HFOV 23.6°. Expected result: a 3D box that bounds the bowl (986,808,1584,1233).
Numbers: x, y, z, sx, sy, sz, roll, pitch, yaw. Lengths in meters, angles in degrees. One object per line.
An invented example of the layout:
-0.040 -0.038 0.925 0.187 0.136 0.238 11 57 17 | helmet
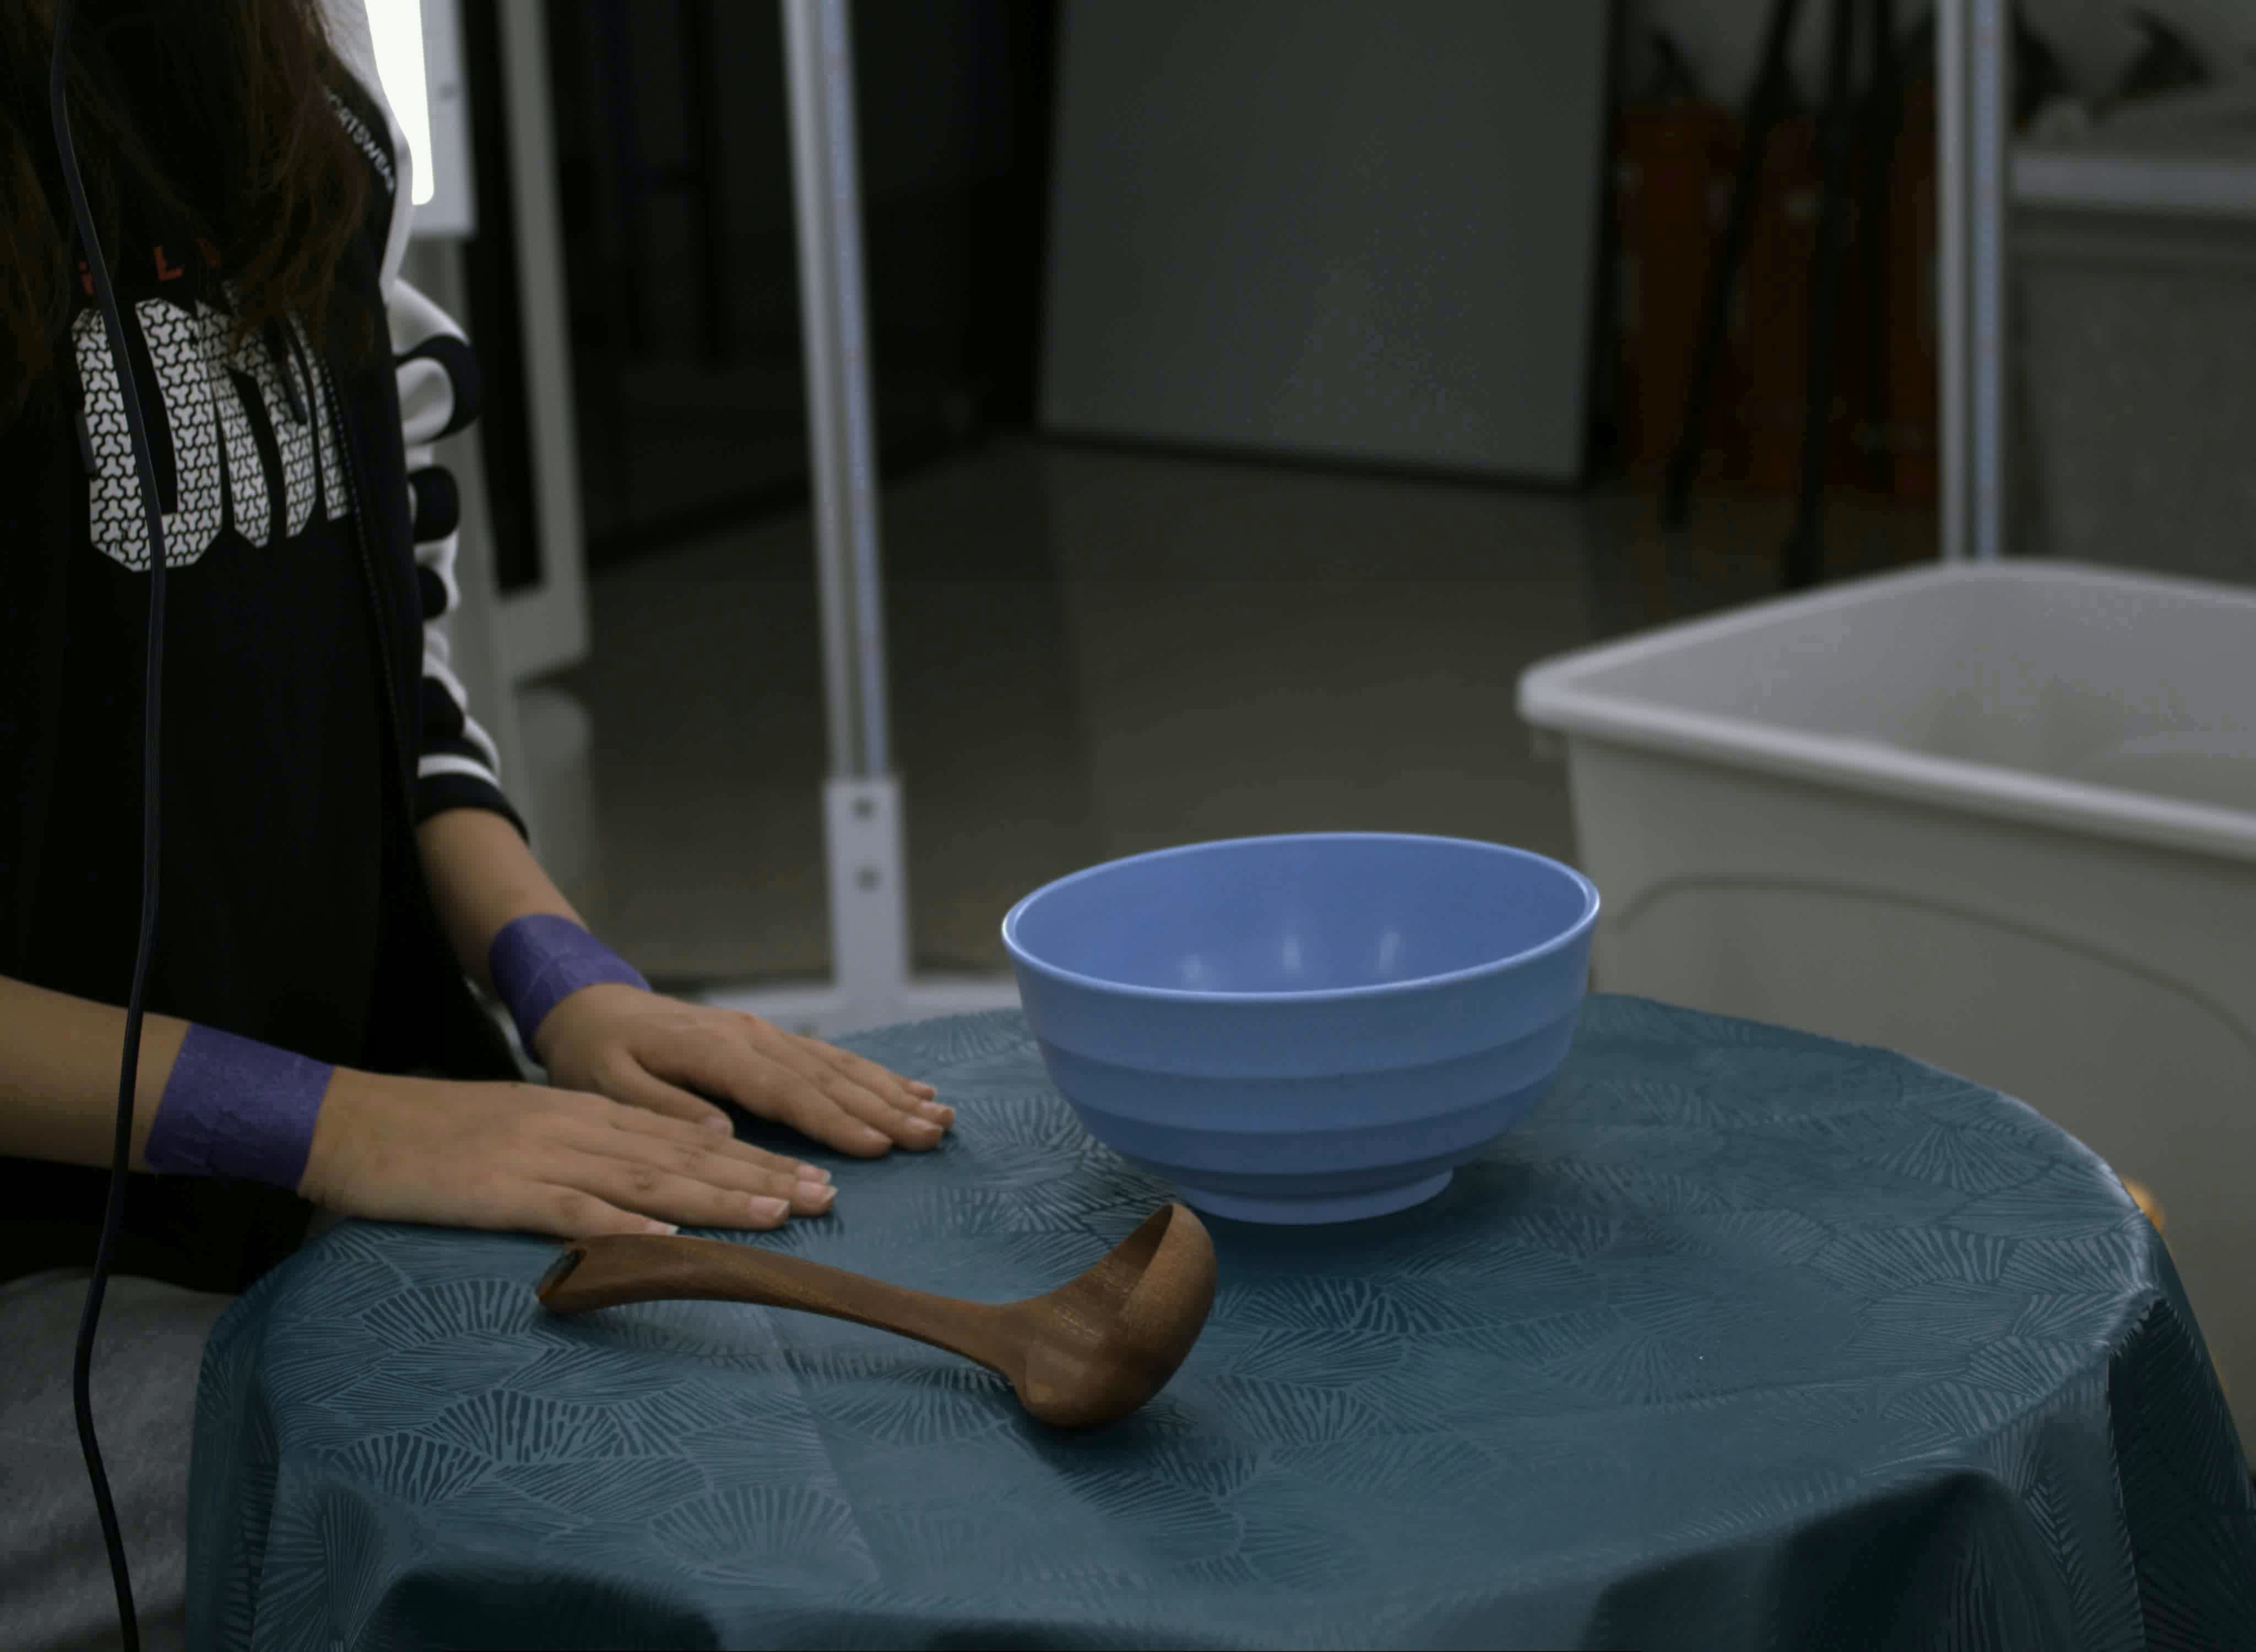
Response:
0.053 0.071 1.763 0.194 0.096 0.197 -4 20 1 | bowl

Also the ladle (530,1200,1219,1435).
-0.084 0.136 1.611 0.261 0.065 0.076 5 44 34 | ladle
